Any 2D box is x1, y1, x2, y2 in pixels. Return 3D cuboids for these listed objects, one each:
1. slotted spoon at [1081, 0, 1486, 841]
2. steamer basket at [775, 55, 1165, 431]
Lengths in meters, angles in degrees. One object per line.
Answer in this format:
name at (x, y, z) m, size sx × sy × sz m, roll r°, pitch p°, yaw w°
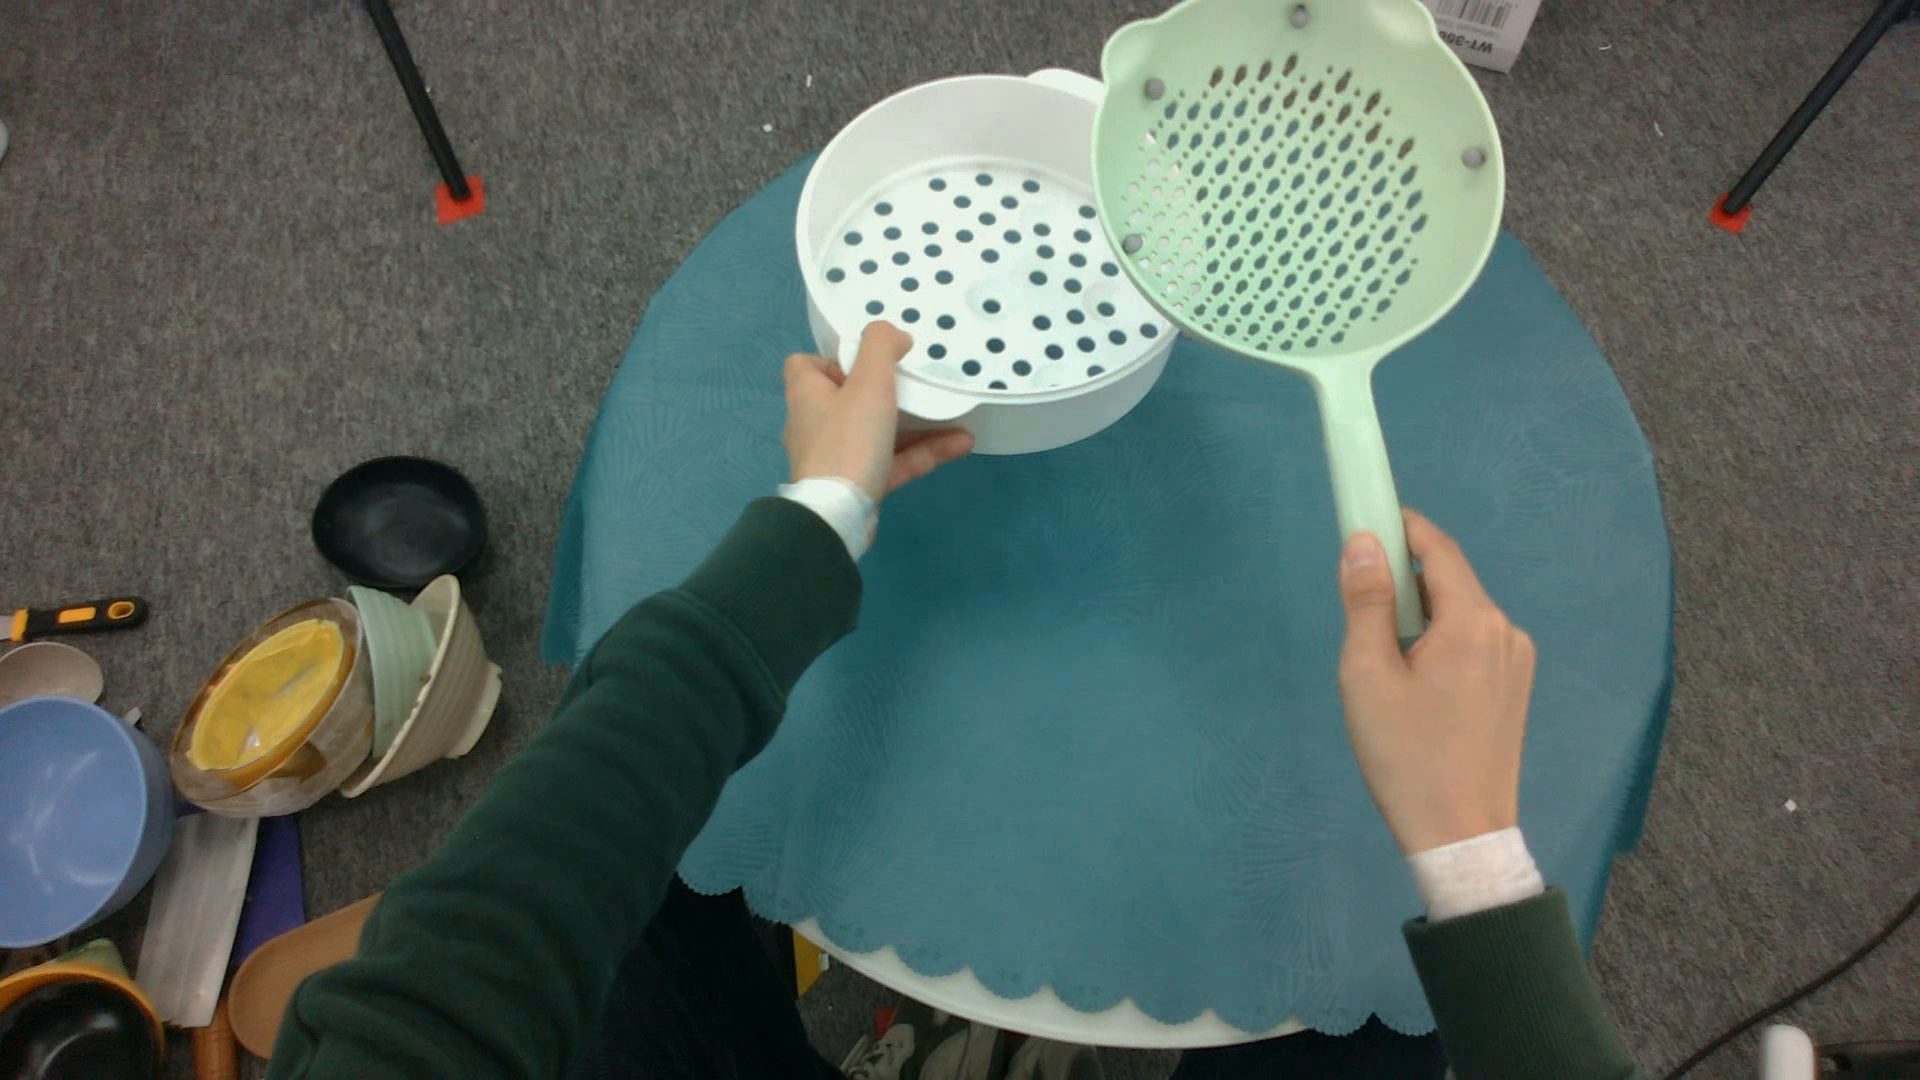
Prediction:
slotted spoon at (0.147, -0.063, 0.559) m, size 0.169 × 0.075 × 0.360 m, roll -7°, pitch 70°, yaw -3°
steamer basket at (0.009, -0.149, 0.703) m, size 0.202 × 0.069 × 0.231 m, roll 24°, pitch 62°, yaw 10°
